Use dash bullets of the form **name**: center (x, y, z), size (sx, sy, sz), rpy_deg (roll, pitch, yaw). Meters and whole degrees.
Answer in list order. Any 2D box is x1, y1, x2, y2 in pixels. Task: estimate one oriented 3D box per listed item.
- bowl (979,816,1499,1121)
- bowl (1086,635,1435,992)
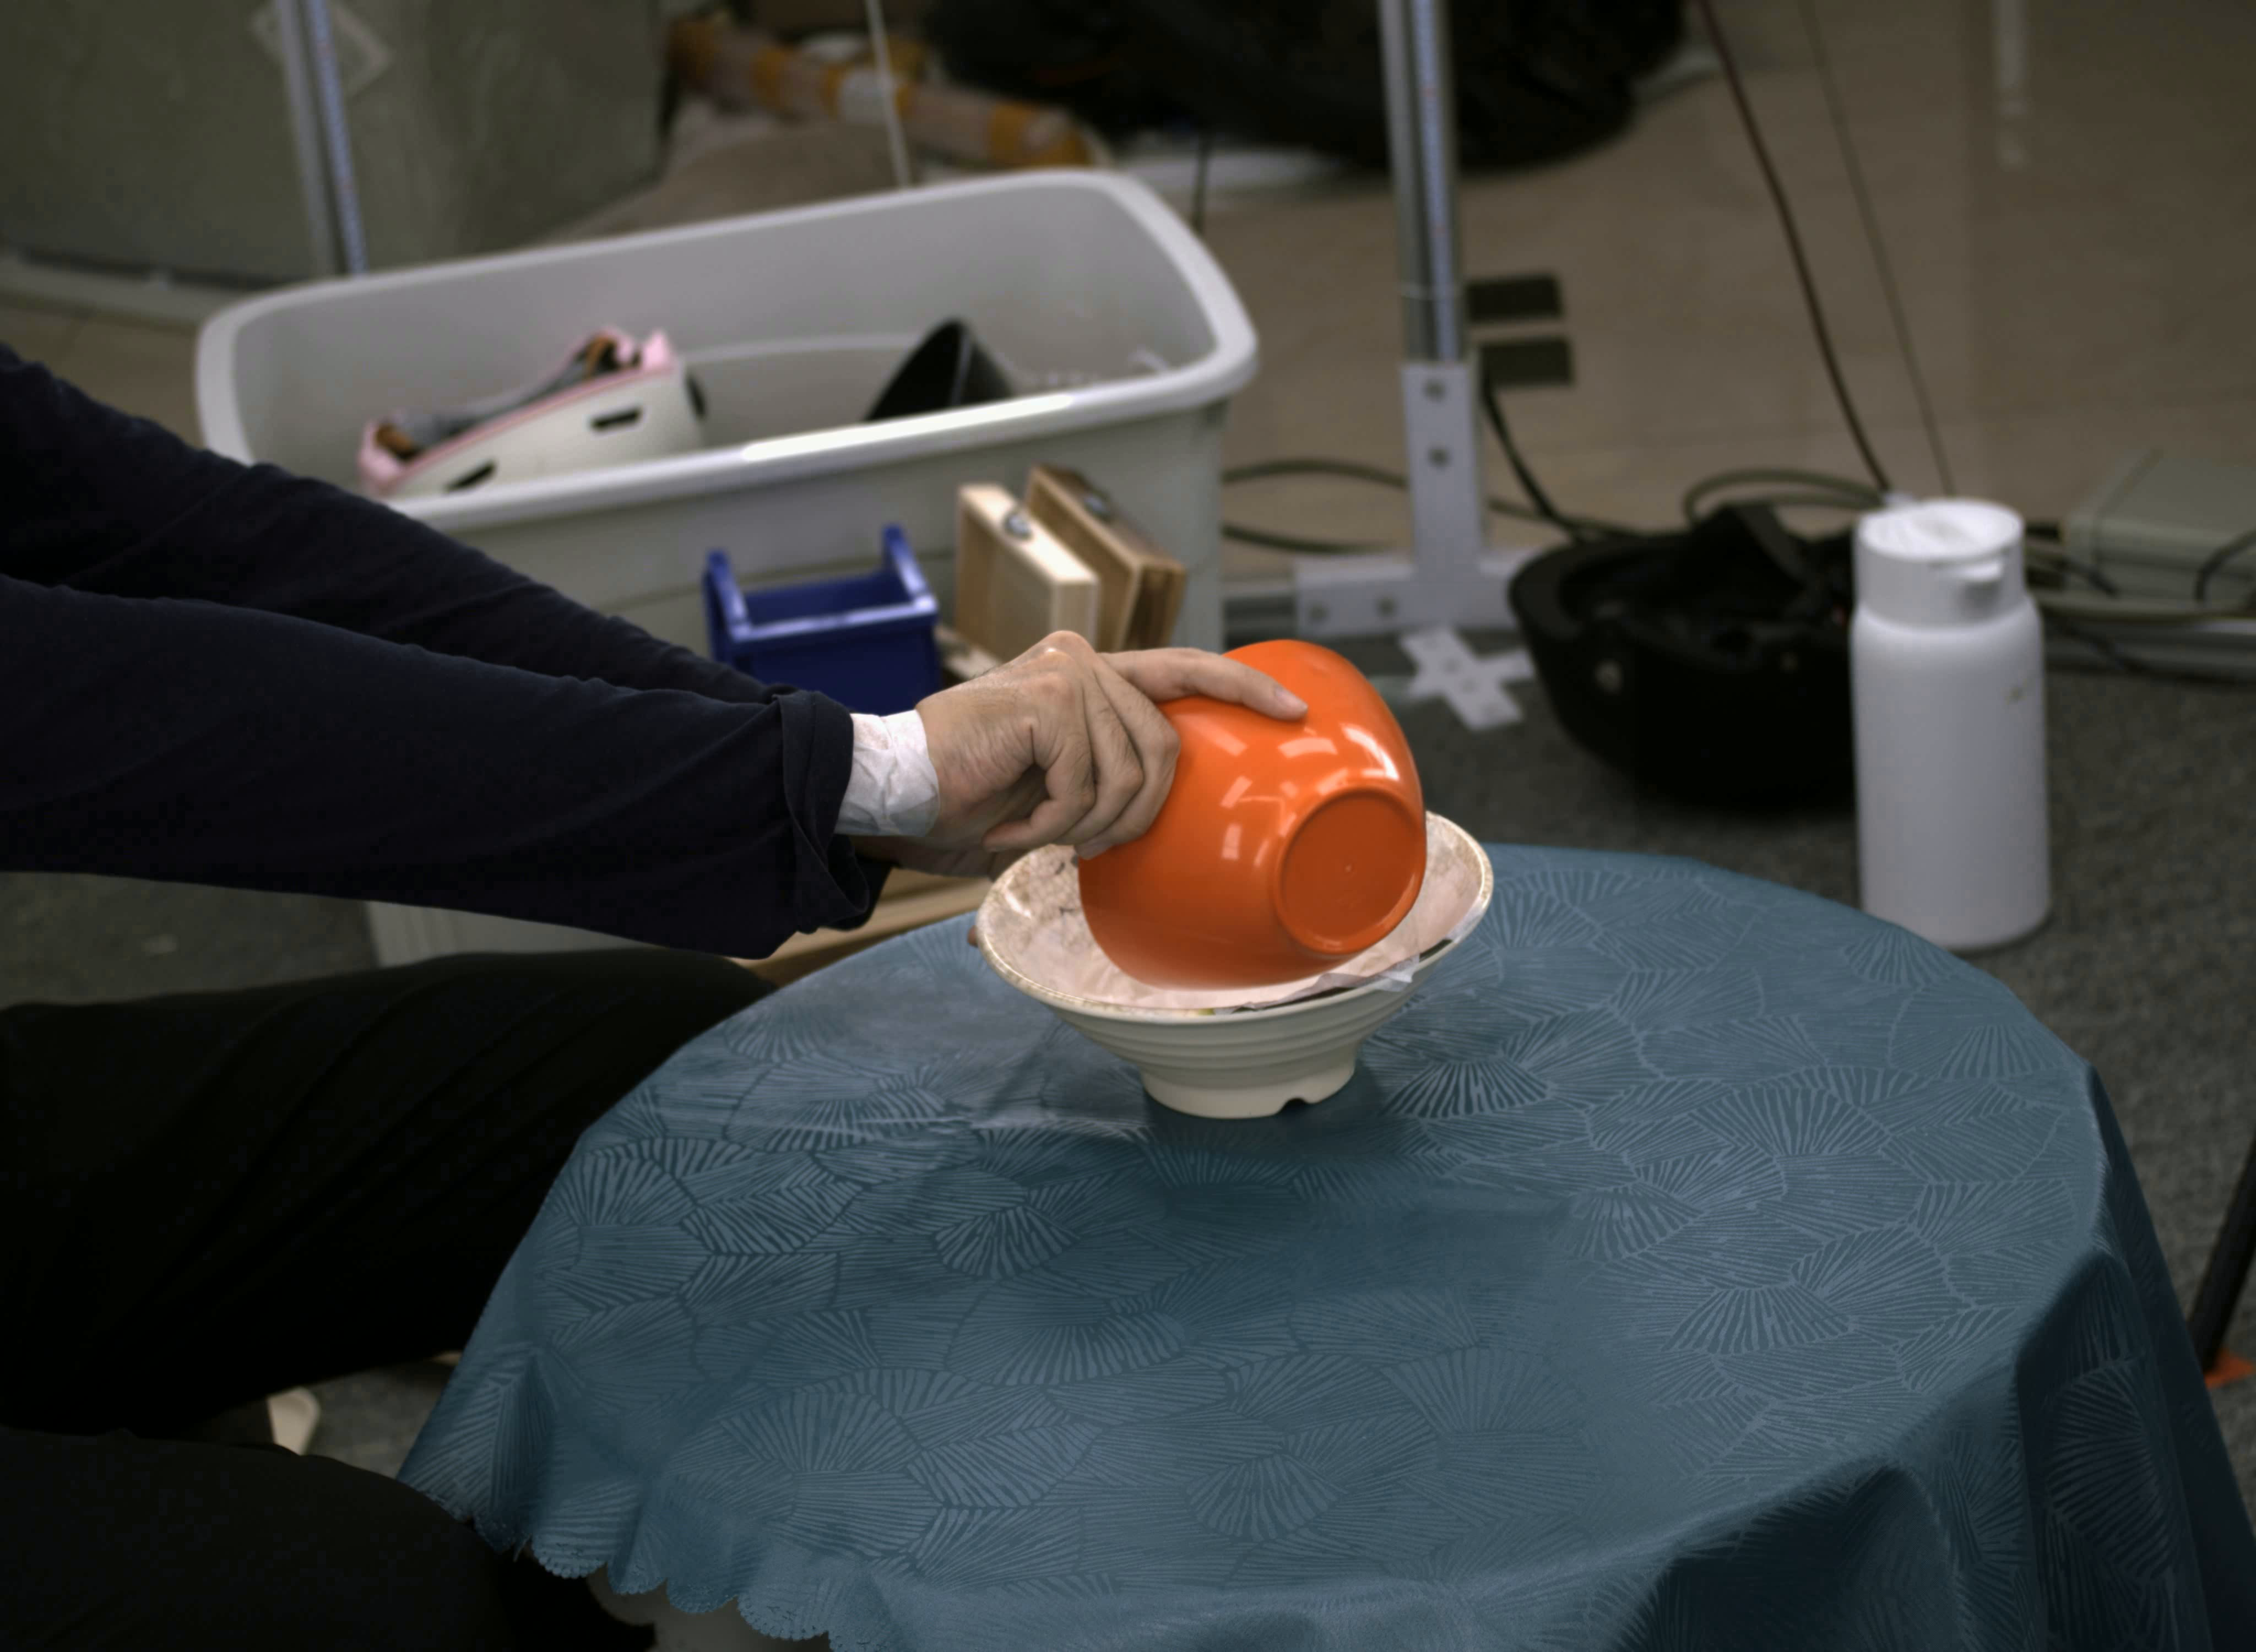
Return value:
- **bowl**: center (0.047, 0.062, 2.214), size (0.203, 0.079, 0.201), rpy_deg (-6, 23, 3)
- **bowl**: center (0.065, 0.007, 2.130), size (0.147, 0.150, 0.103), rpy_deg (-19, 28, -25)
